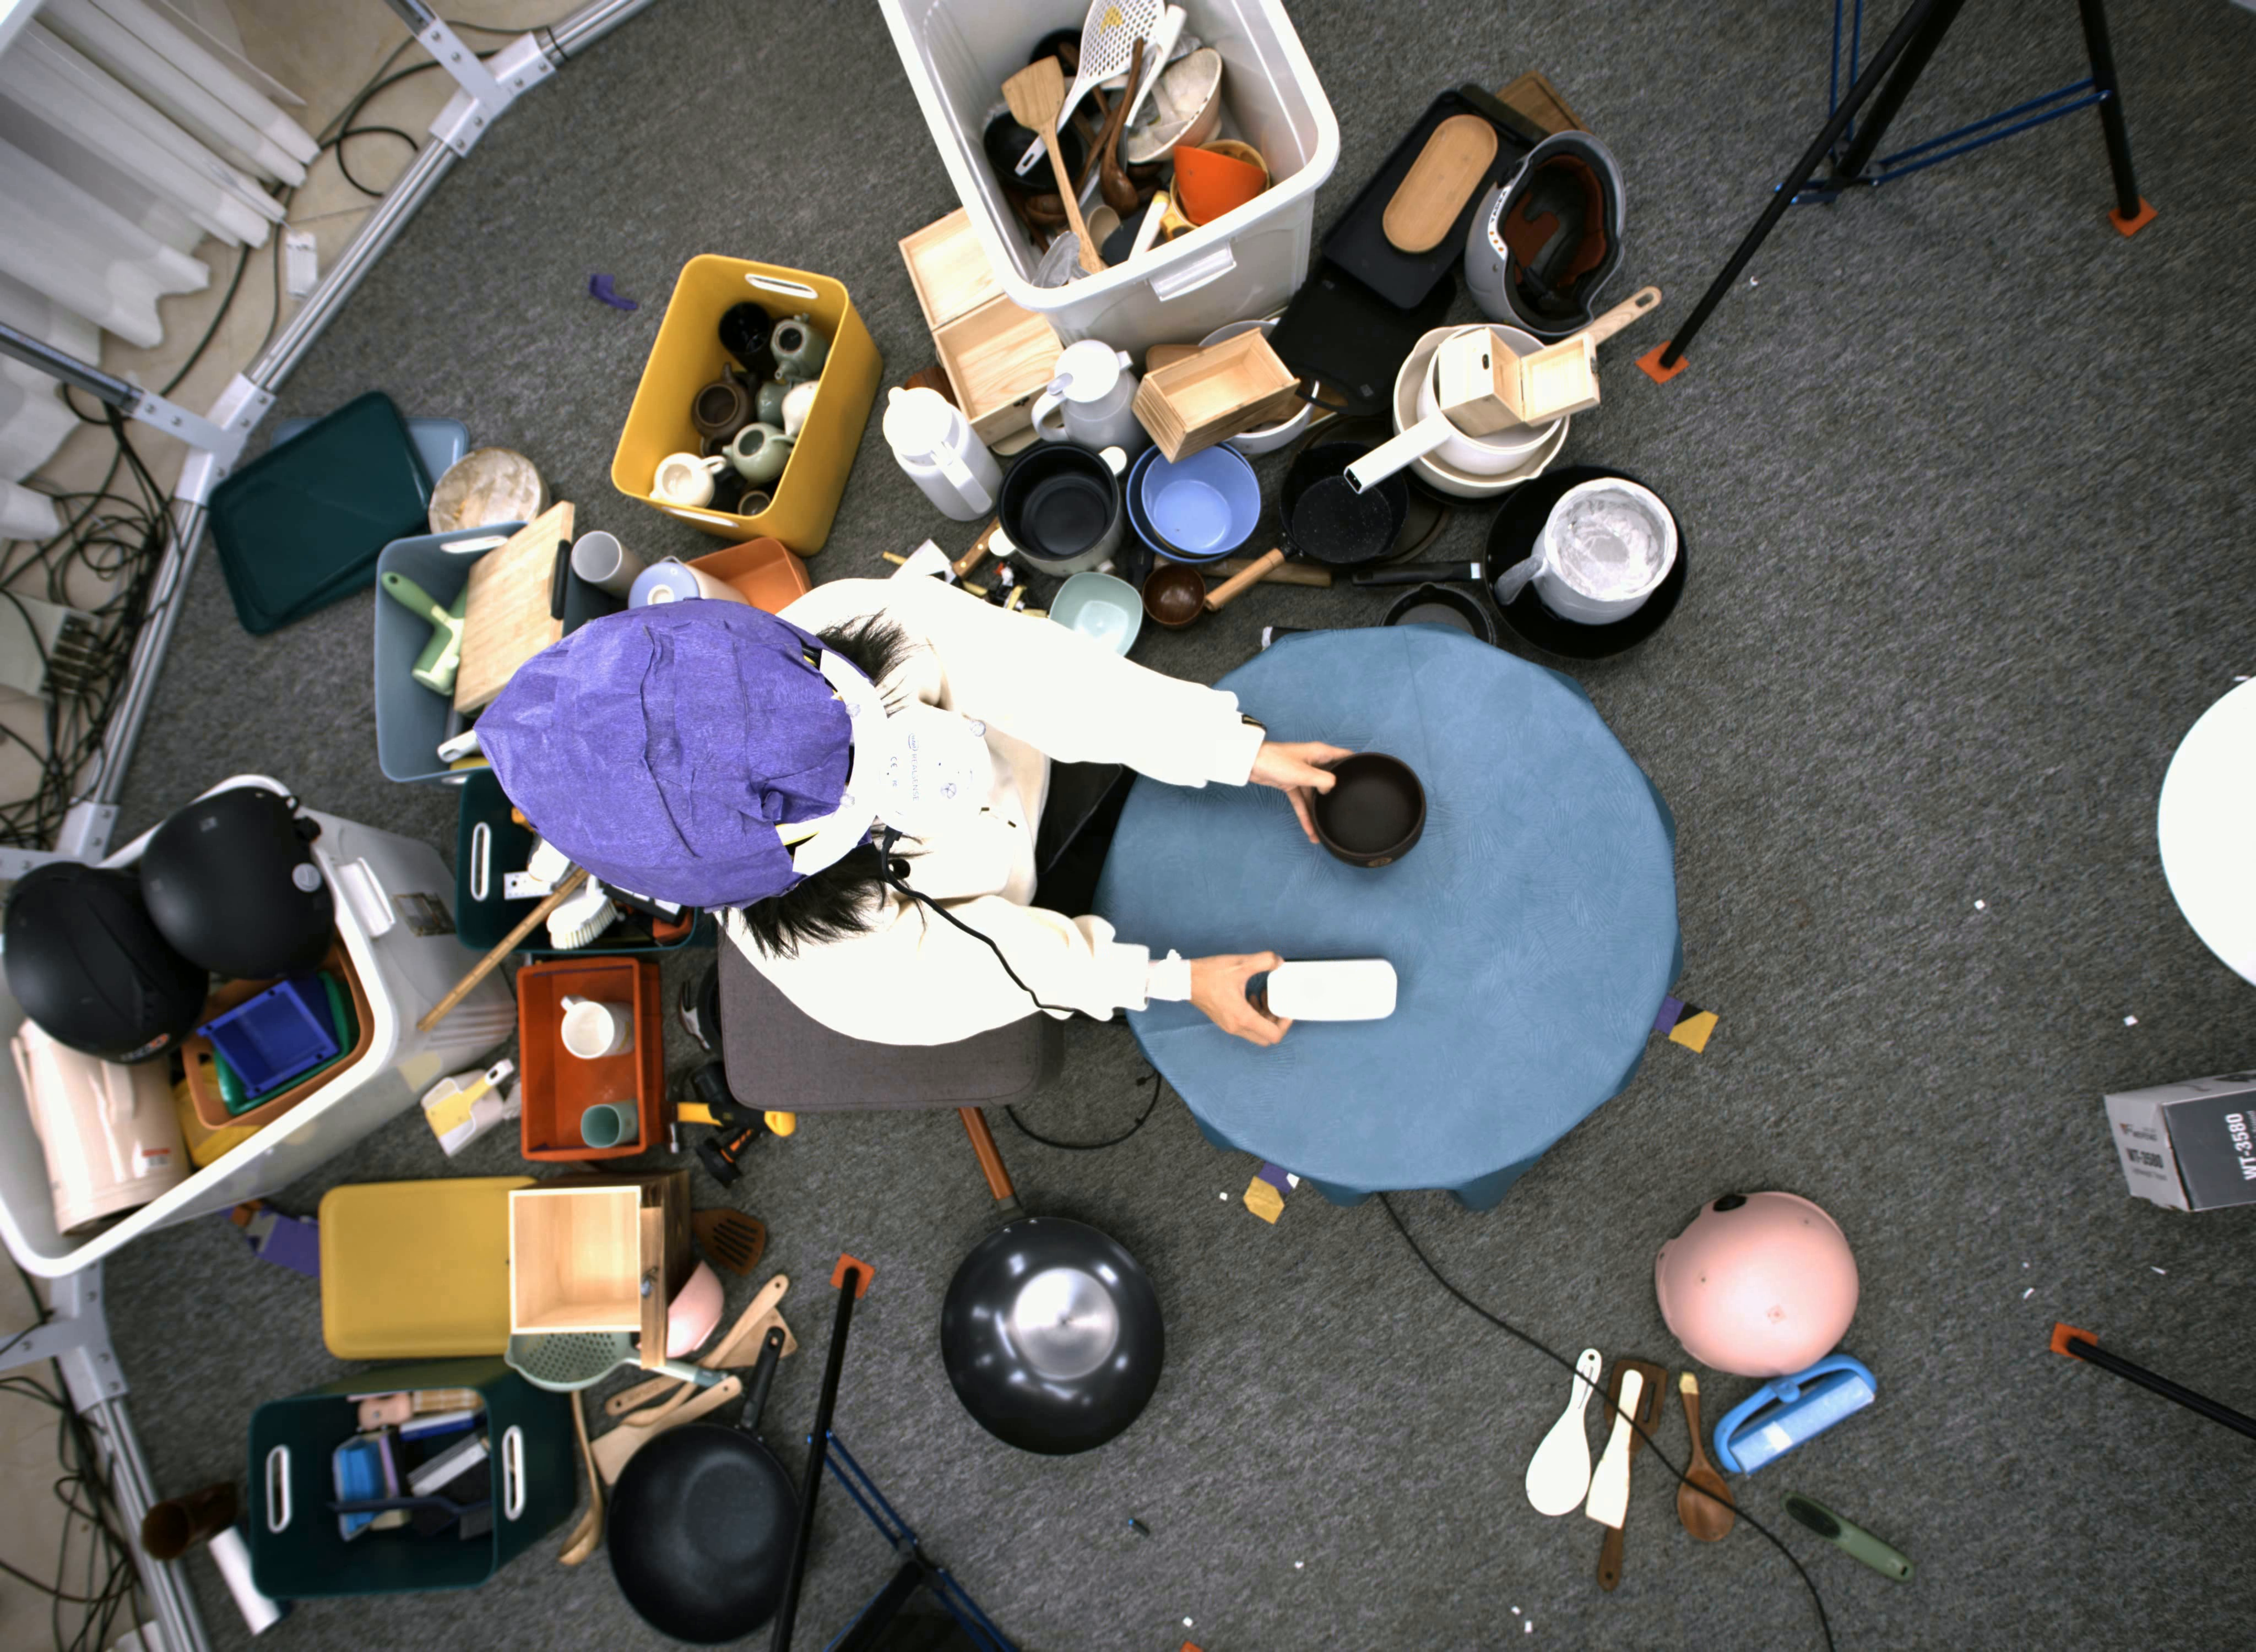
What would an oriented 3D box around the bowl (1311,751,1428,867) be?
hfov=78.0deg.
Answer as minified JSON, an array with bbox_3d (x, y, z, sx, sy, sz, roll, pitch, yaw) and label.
[{"bbox_3d":[0.250,-0.013,1.421,0.118,0.071,0.116,-5,68,12],"label":"bowl"}]

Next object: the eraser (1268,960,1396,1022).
[{"bbox_3d":[0.211,0.168,1.433,0.131,0.034,0.065,0,118,5],"label":"eraser"}]
